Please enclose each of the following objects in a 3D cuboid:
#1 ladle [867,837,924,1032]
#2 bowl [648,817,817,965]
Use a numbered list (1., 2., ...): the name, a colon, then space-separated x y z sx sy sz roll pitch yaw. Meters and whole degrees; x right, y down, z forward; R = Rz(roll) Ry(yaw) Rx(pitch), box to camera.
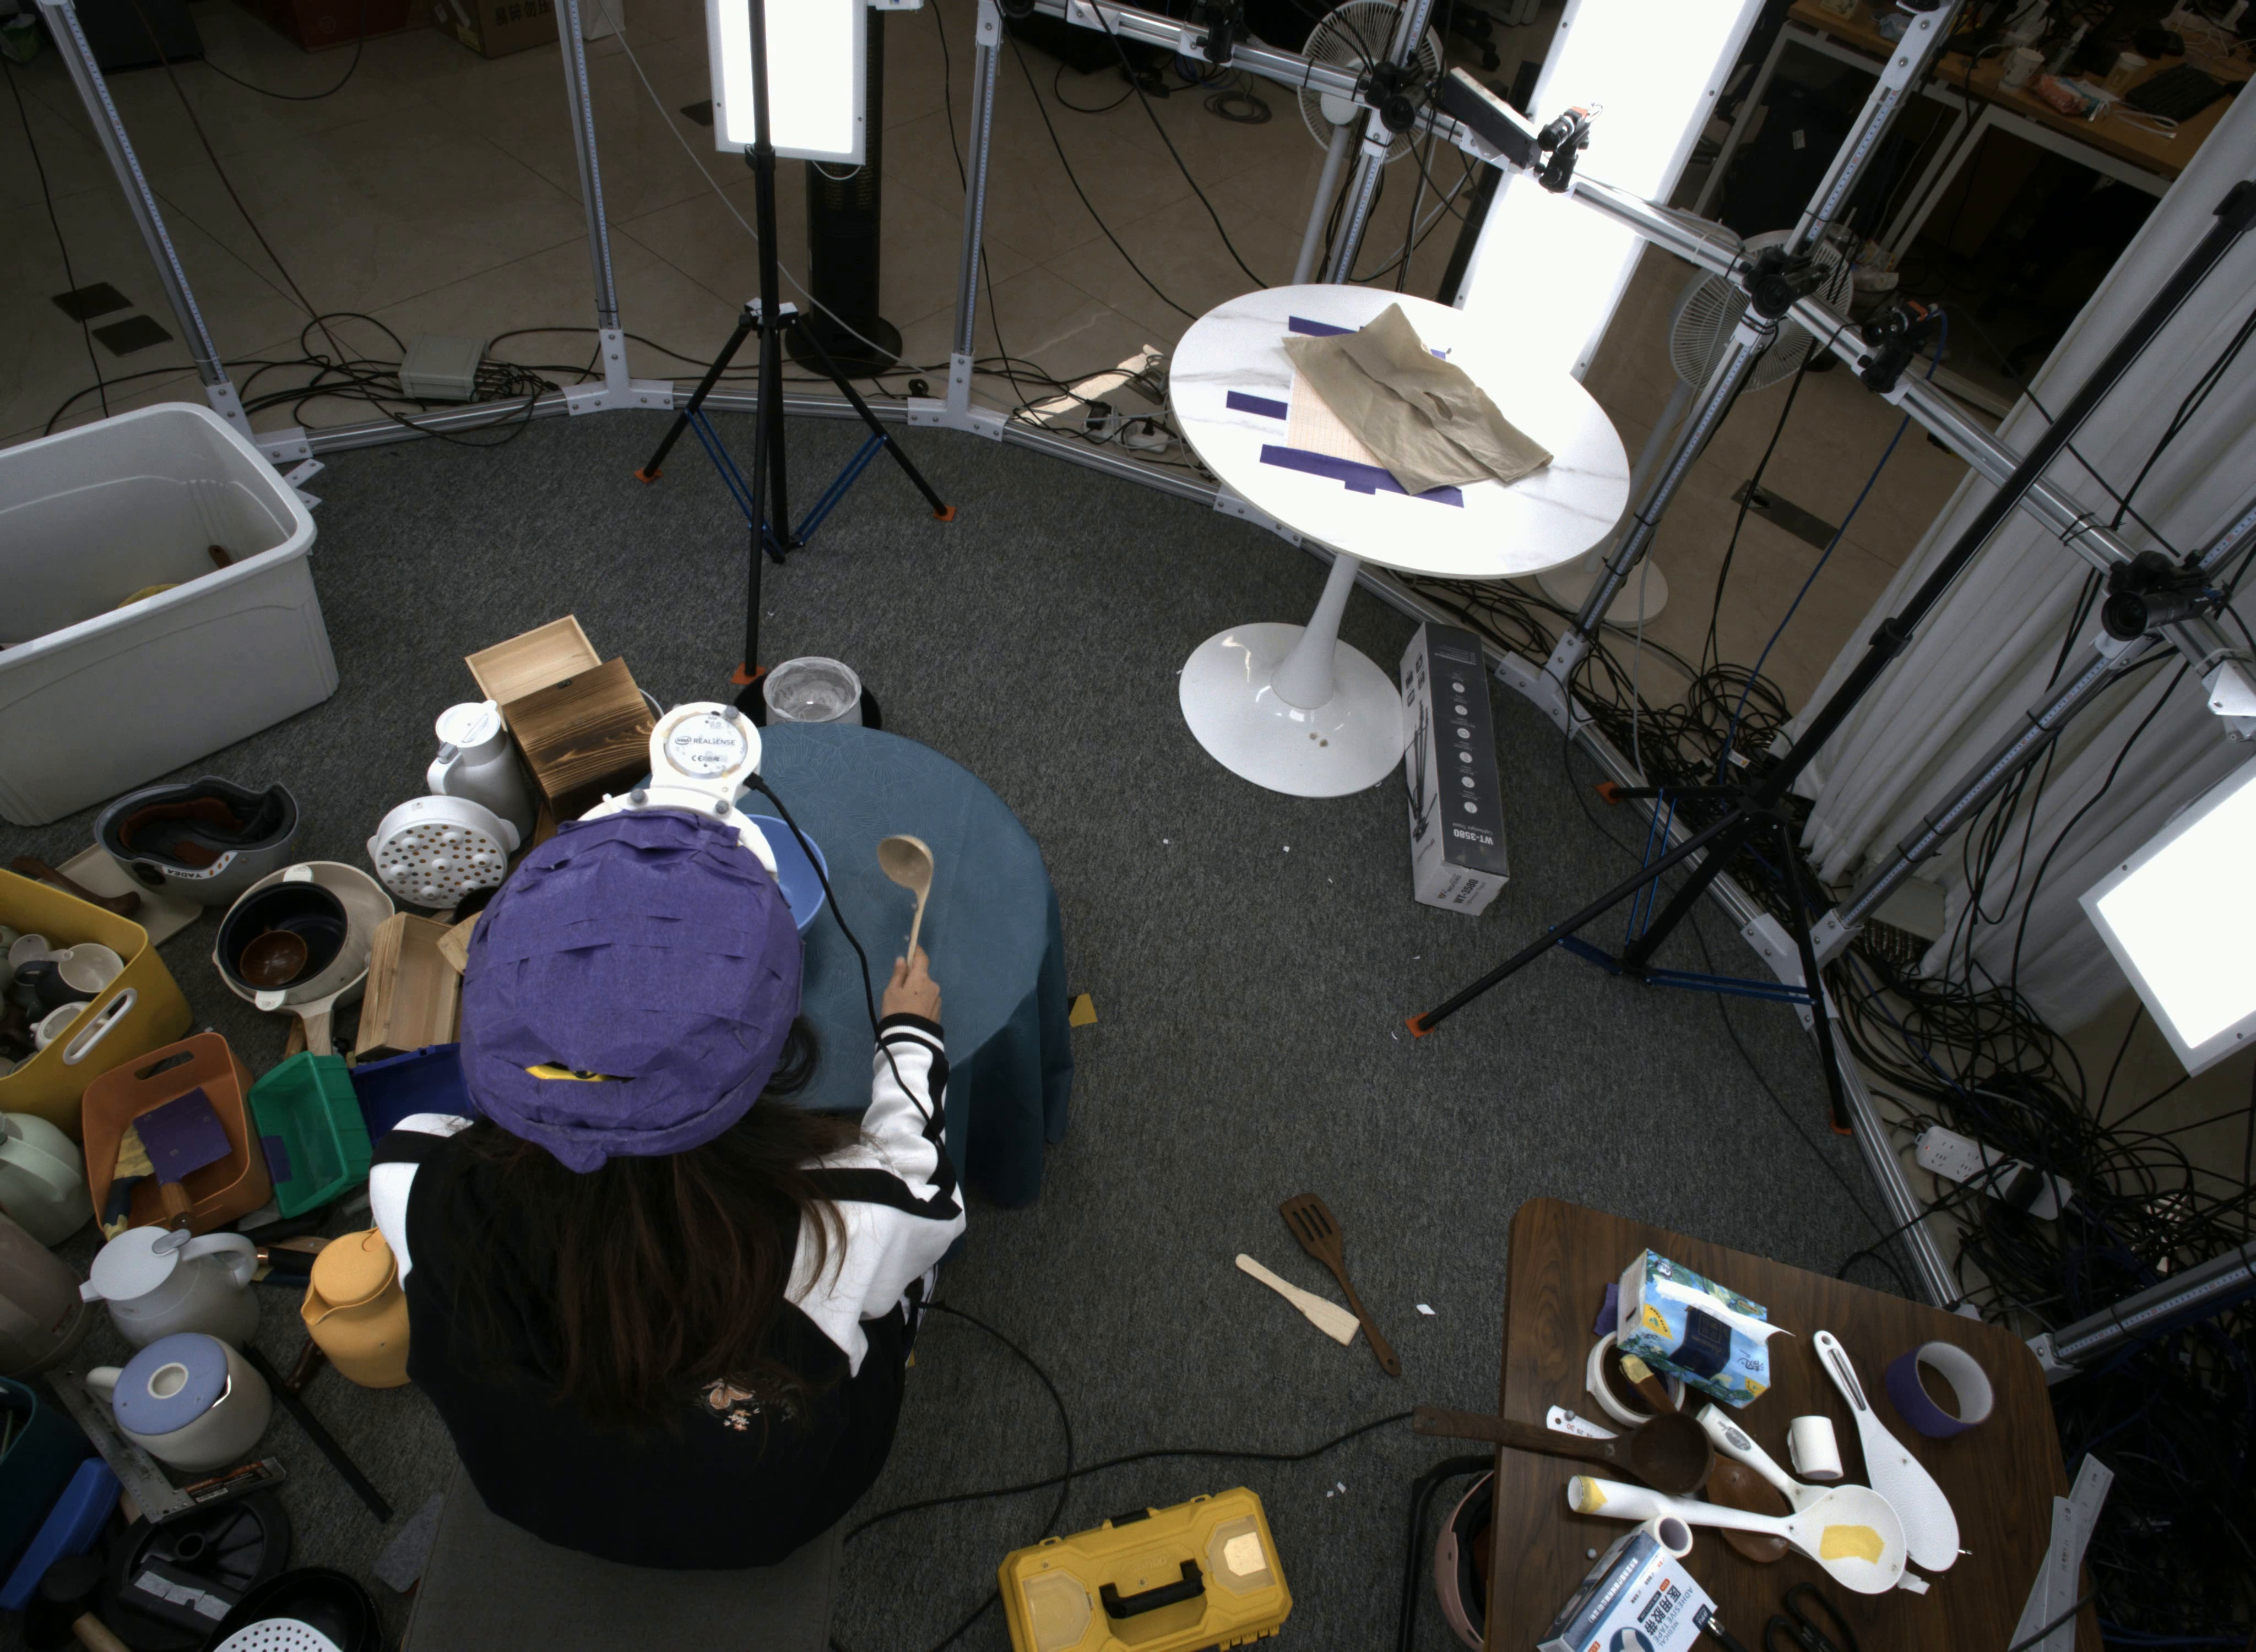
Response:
1. ladle: -0.286 0.121 1.552 0.075 0.071 0.249 32 39 -34
2. bowl: -0.477 0.092 1.573 0.196 0.097 0.193 8 50 -7
